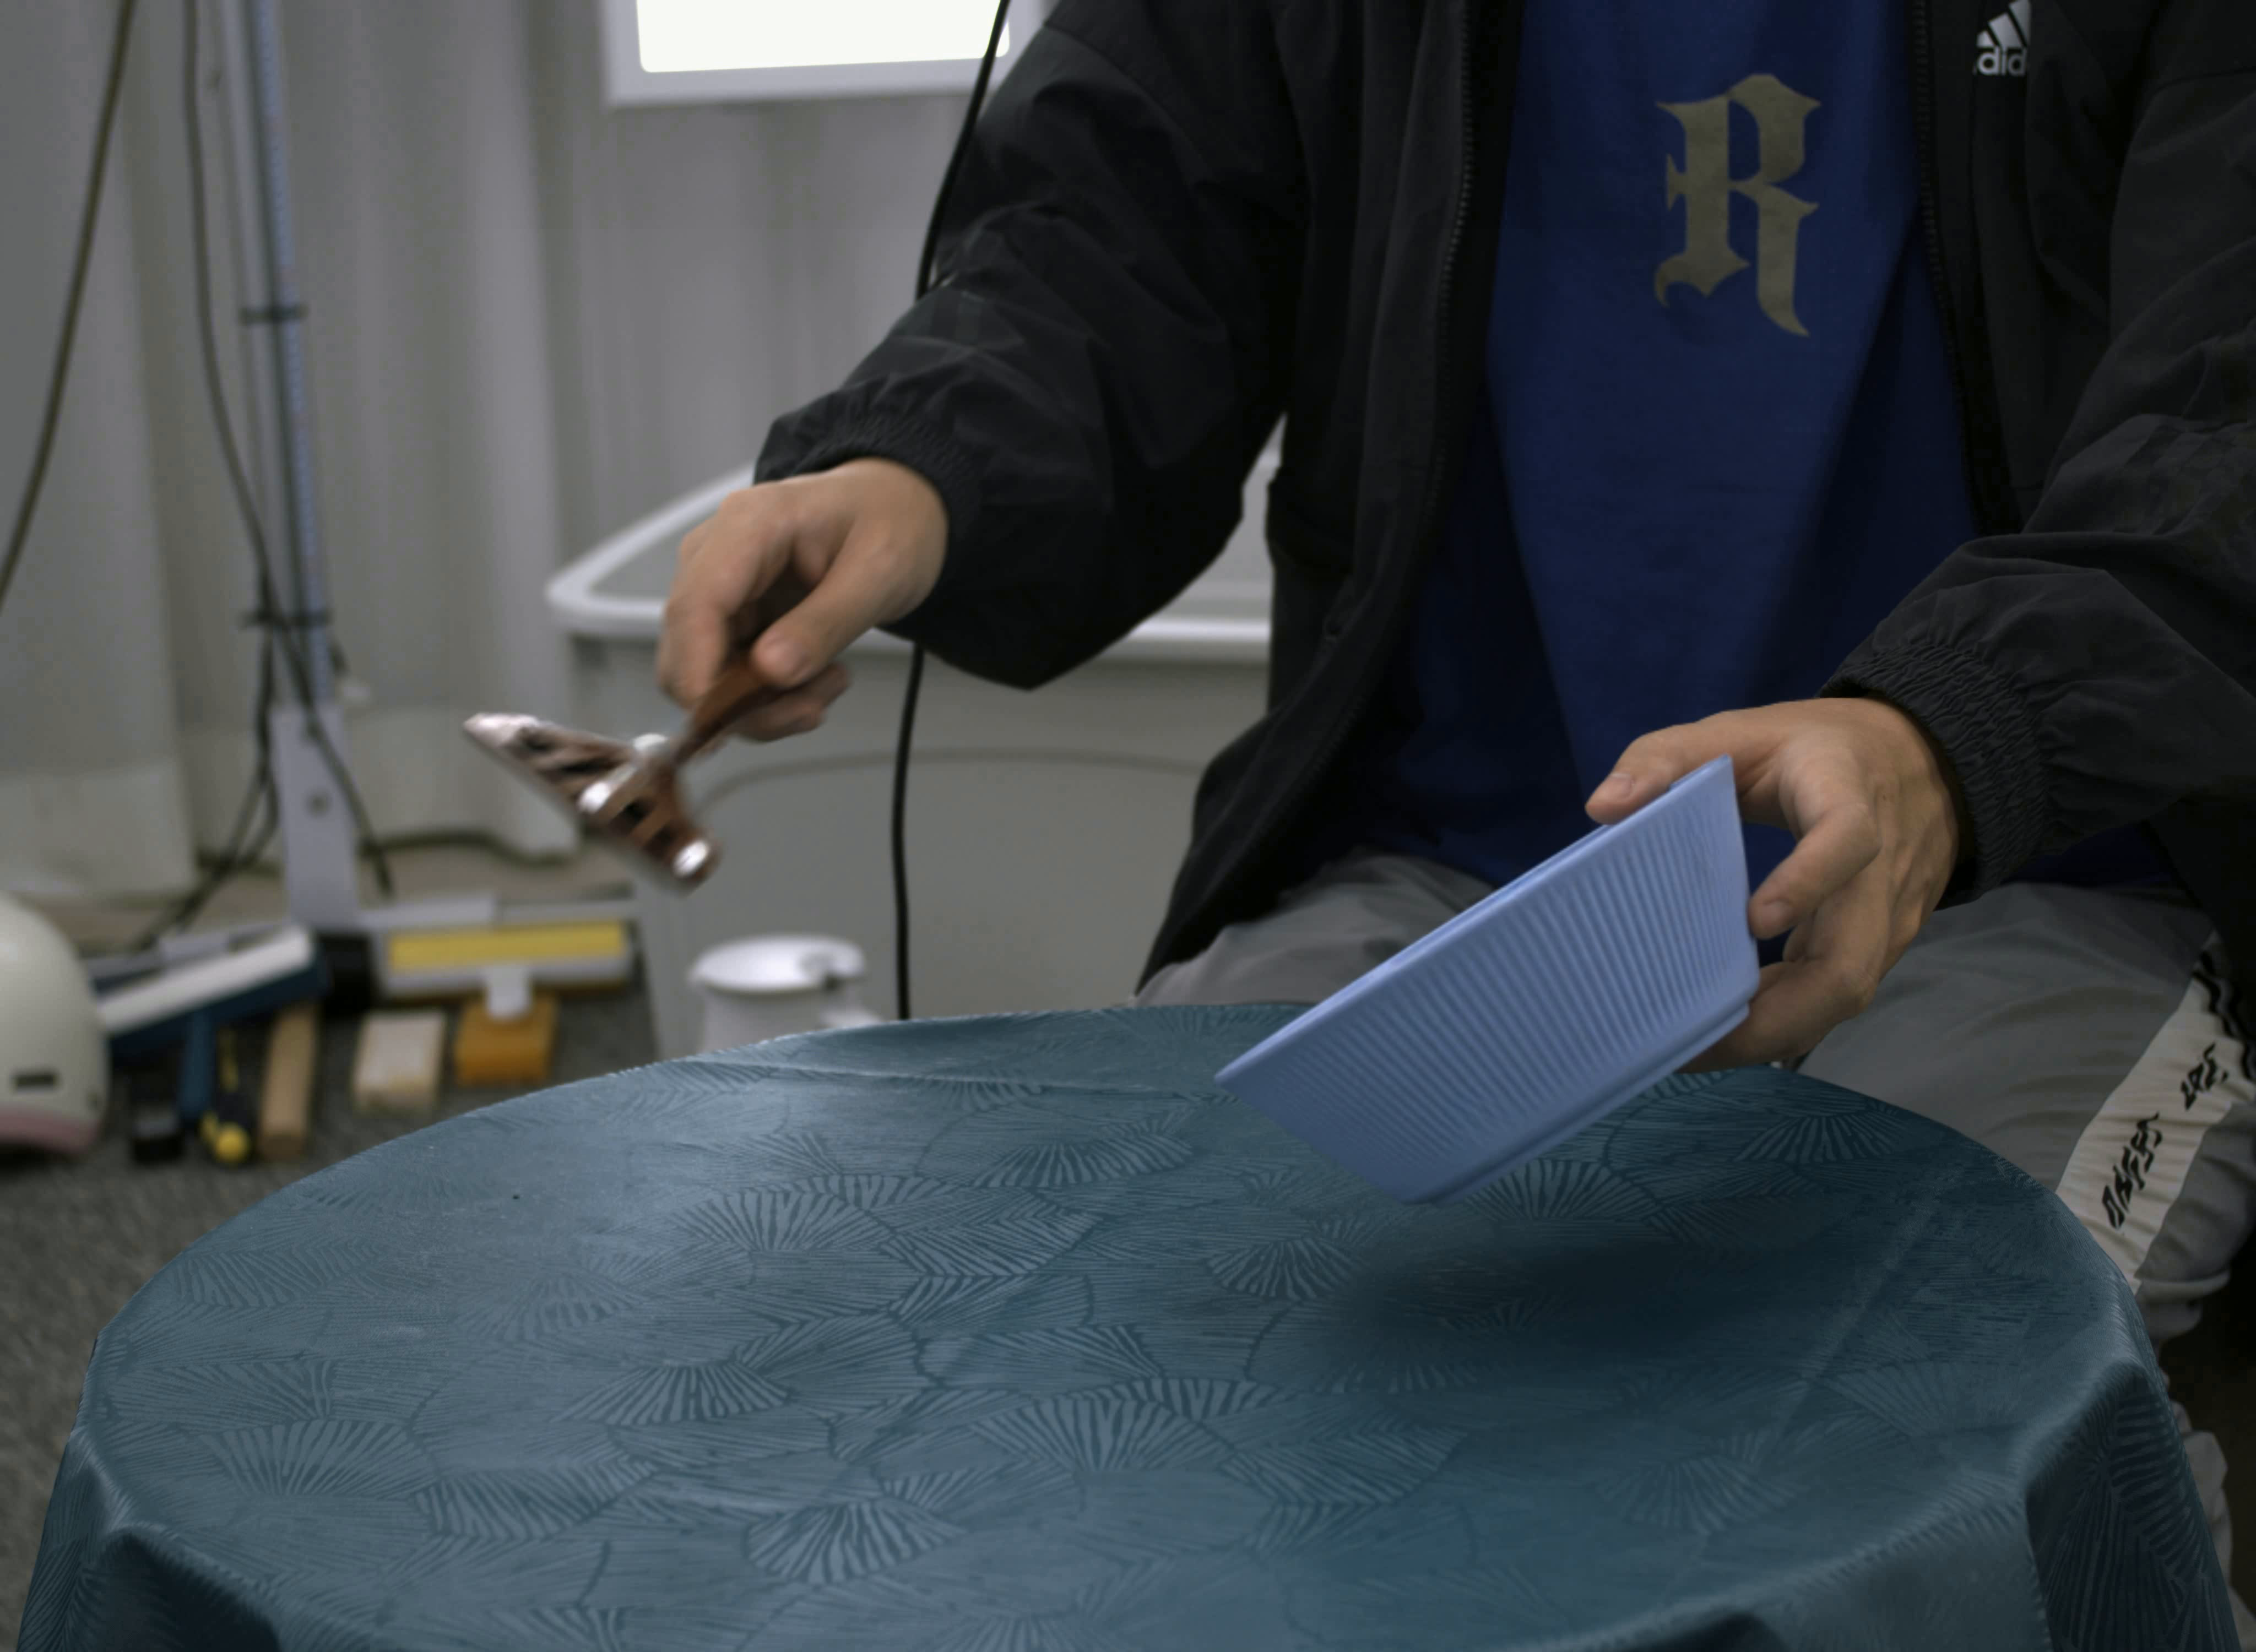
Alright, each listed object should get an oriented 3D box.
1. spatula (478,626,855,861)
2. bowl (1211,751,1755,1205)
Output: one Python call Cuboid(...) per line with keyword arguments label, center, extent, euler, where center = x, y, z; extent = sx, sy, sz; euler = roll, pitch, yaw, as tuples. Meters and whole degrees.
Cuboid(label="spatula", center=(-0.134, -0.034, 1.765), extent=(0.085, 0.024, 0.387), euler=(33, 11, 2))
Cuboid(label="bowl", center=(0.114, 0.052, 1.575), extent=(0.176, 0.070, 0.175), euler=(-32, -3, -3))
